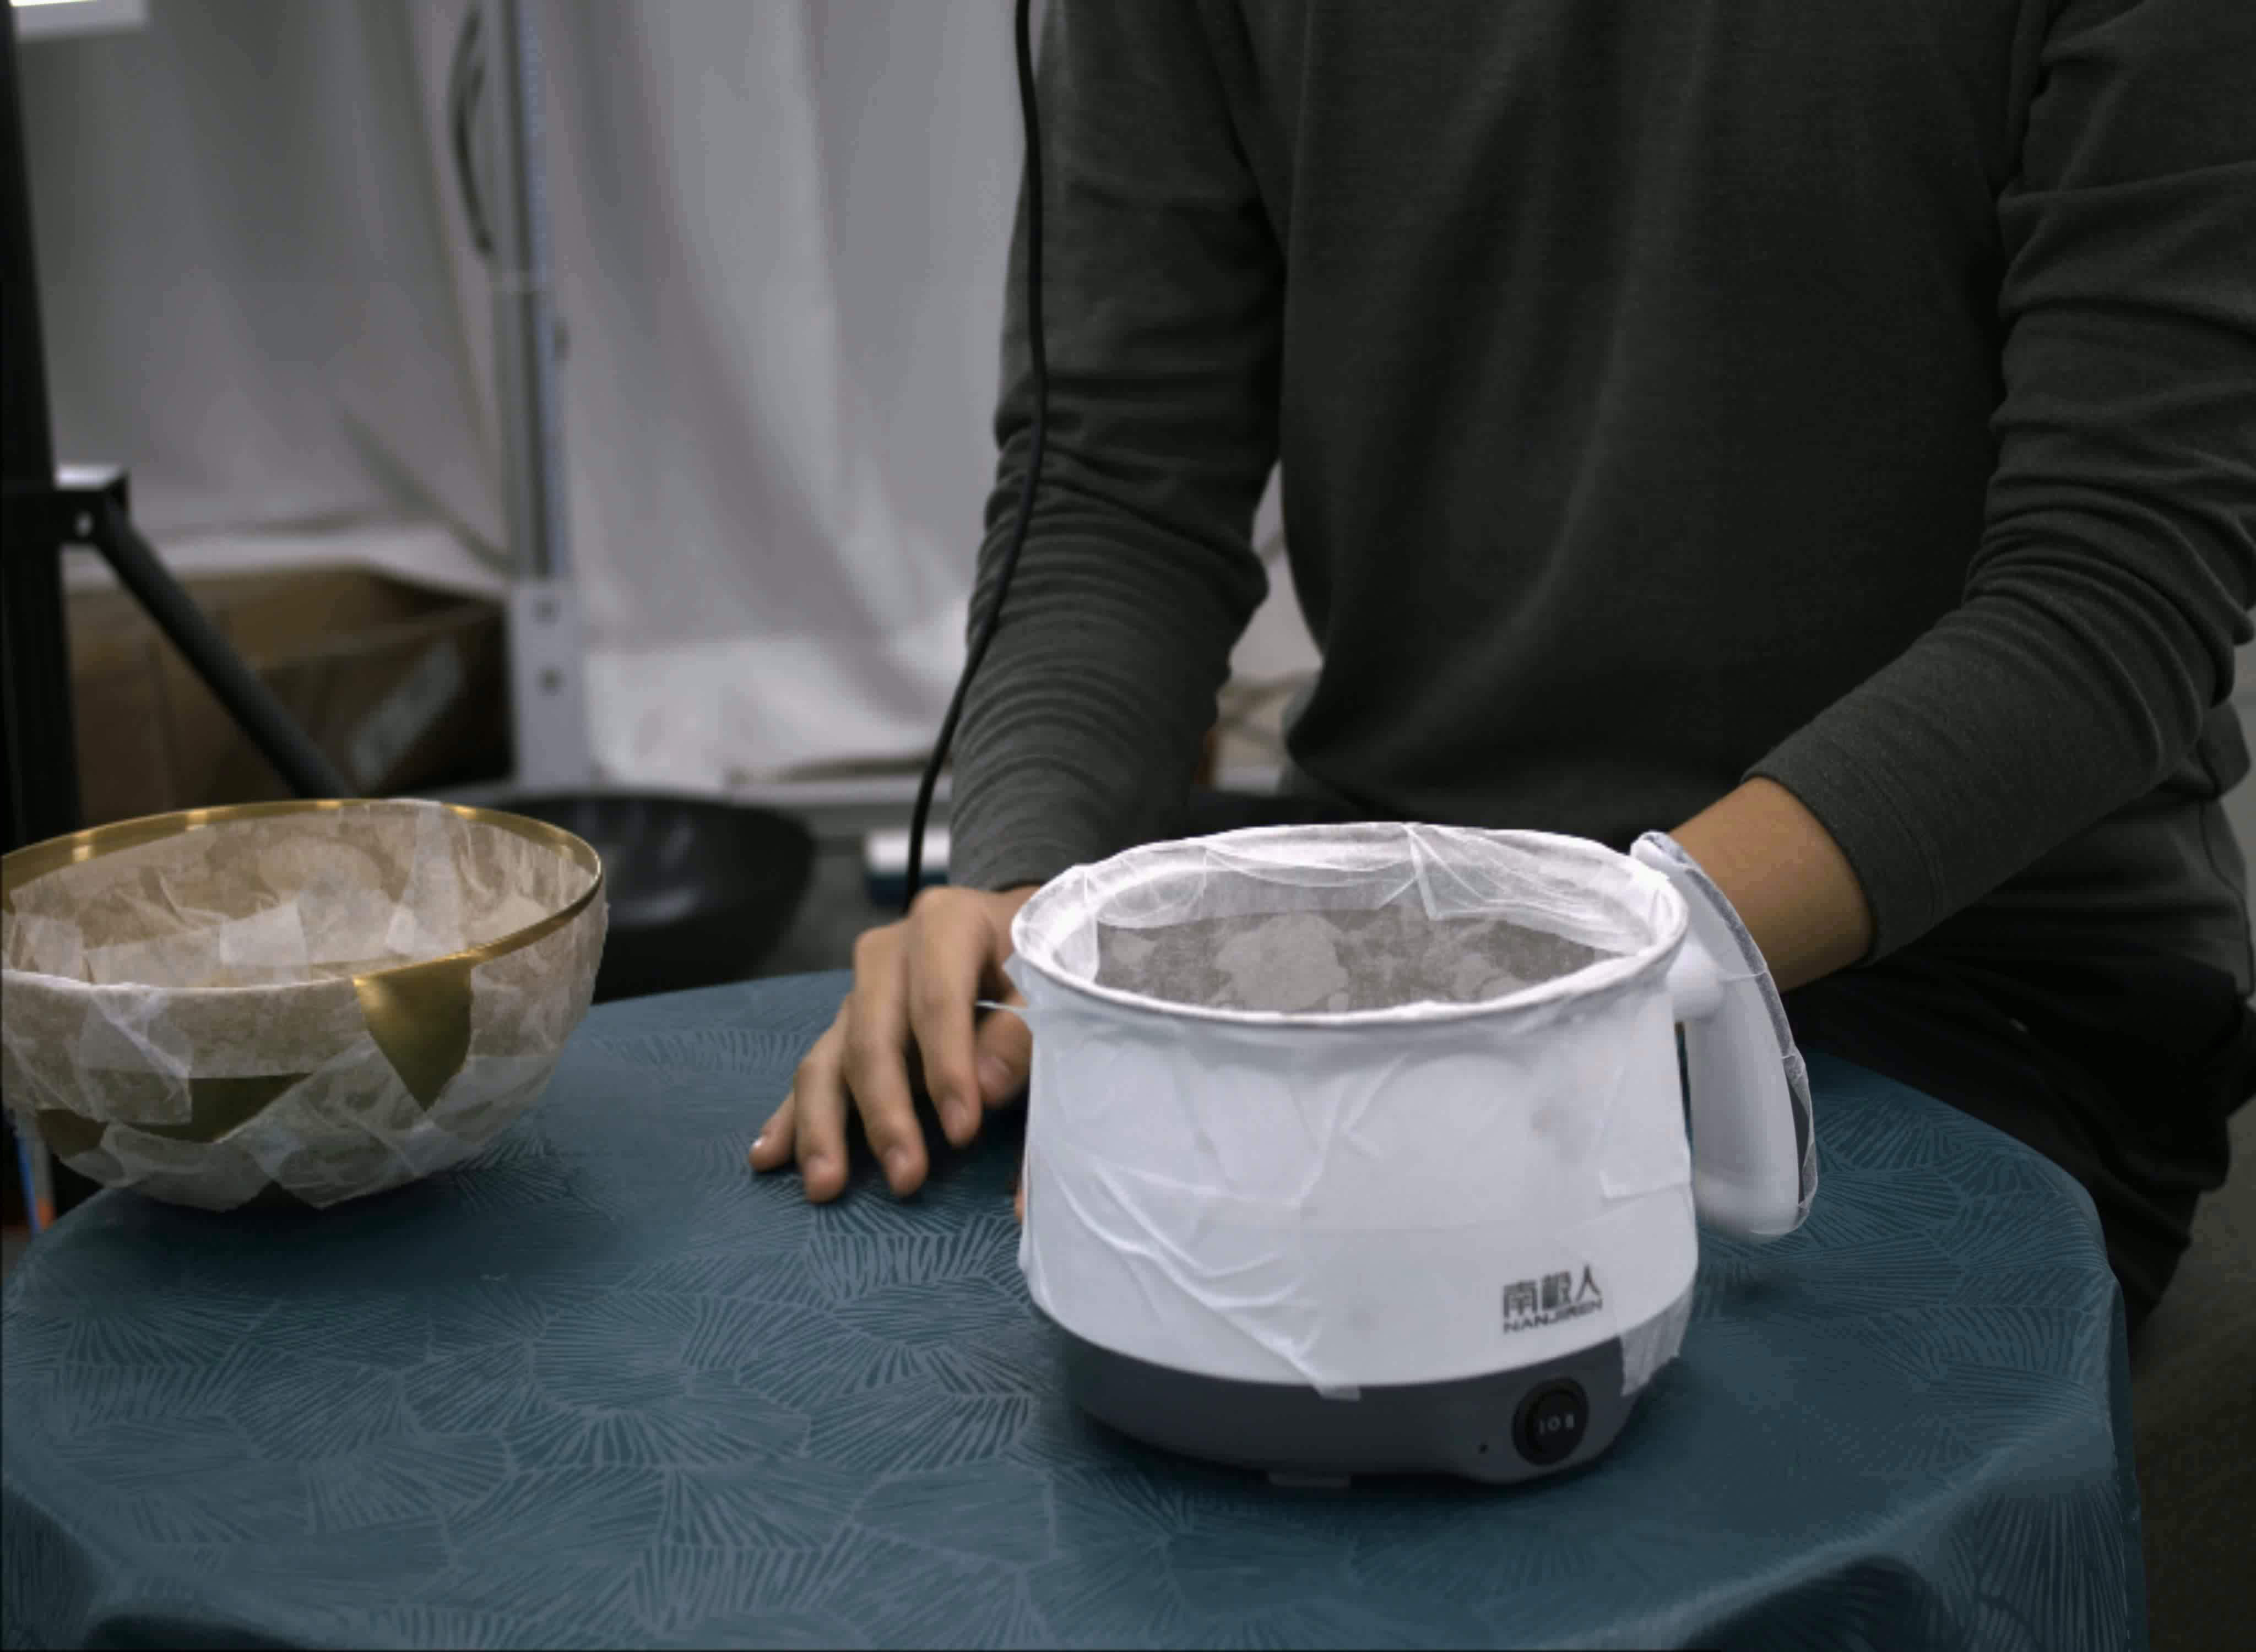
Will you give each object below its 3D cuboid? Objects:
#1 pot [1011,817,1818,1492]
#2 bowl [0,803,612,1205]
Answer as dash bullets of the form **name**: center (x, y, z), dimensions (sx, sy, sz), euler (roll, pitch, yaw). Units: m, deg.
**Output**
- **pot**: center (0.083, 0.079, 1.400), dimensions (0.228, 0.136, 0.183), euler (-12, 18, -30)
- **bowl**: center (-0.250, 0.060, 1.602), dimensions (0.213, 0.094, 0.216), euler (-3, 14, -1)
